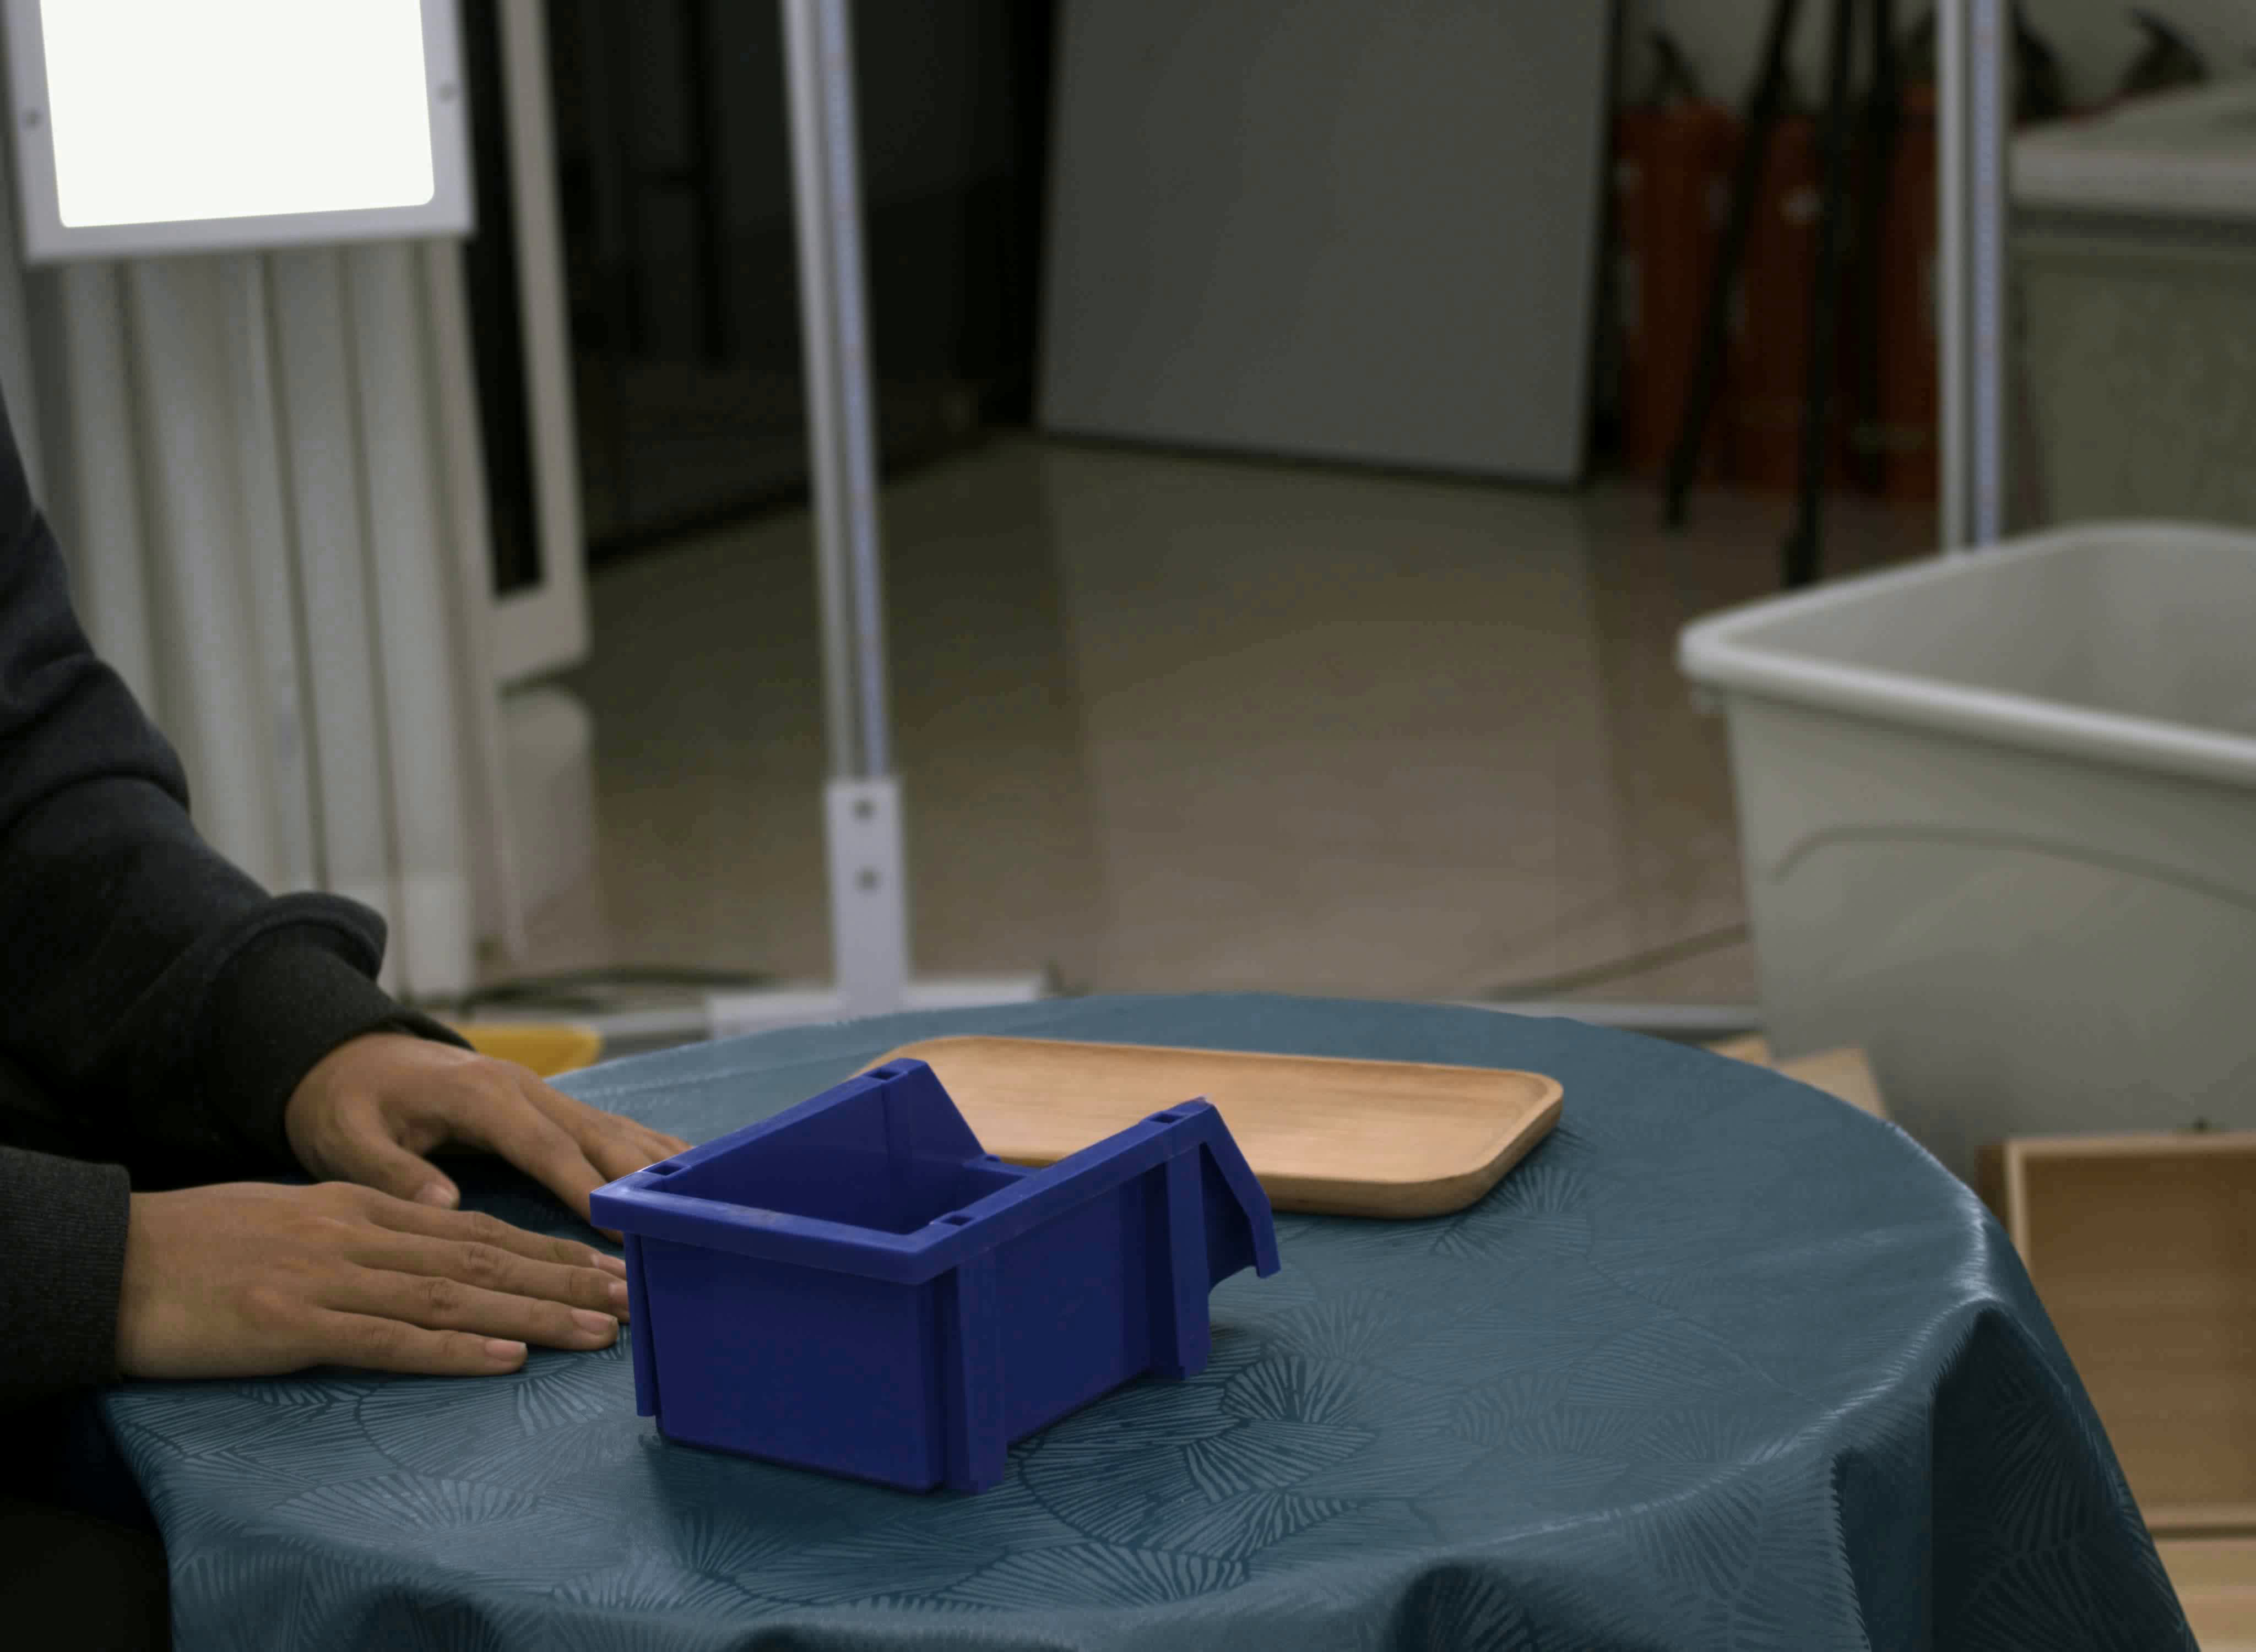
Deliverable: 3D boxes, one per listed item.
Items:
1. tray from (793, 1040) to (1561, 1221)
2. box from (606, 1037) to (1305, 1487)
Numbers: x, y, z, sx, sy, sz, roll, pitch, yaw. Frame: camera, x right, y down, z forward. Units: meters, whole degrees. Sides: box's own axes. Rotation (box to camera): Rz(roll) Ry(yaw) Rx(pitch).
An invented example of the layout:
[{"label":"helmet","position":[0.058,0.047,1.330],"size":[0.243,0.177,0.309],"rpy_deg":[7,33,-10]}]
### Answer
[{"label":"tray","position":[0.016,0.101,1.809],"size":[0.251,0.023,0.129],"rpy_deg":[2,12,25]},{"label":"box","position":[-0.049,0.124,1.596],"size":[0.125,0.083,0.176],"rpy_deg":[6,20,38]}]
